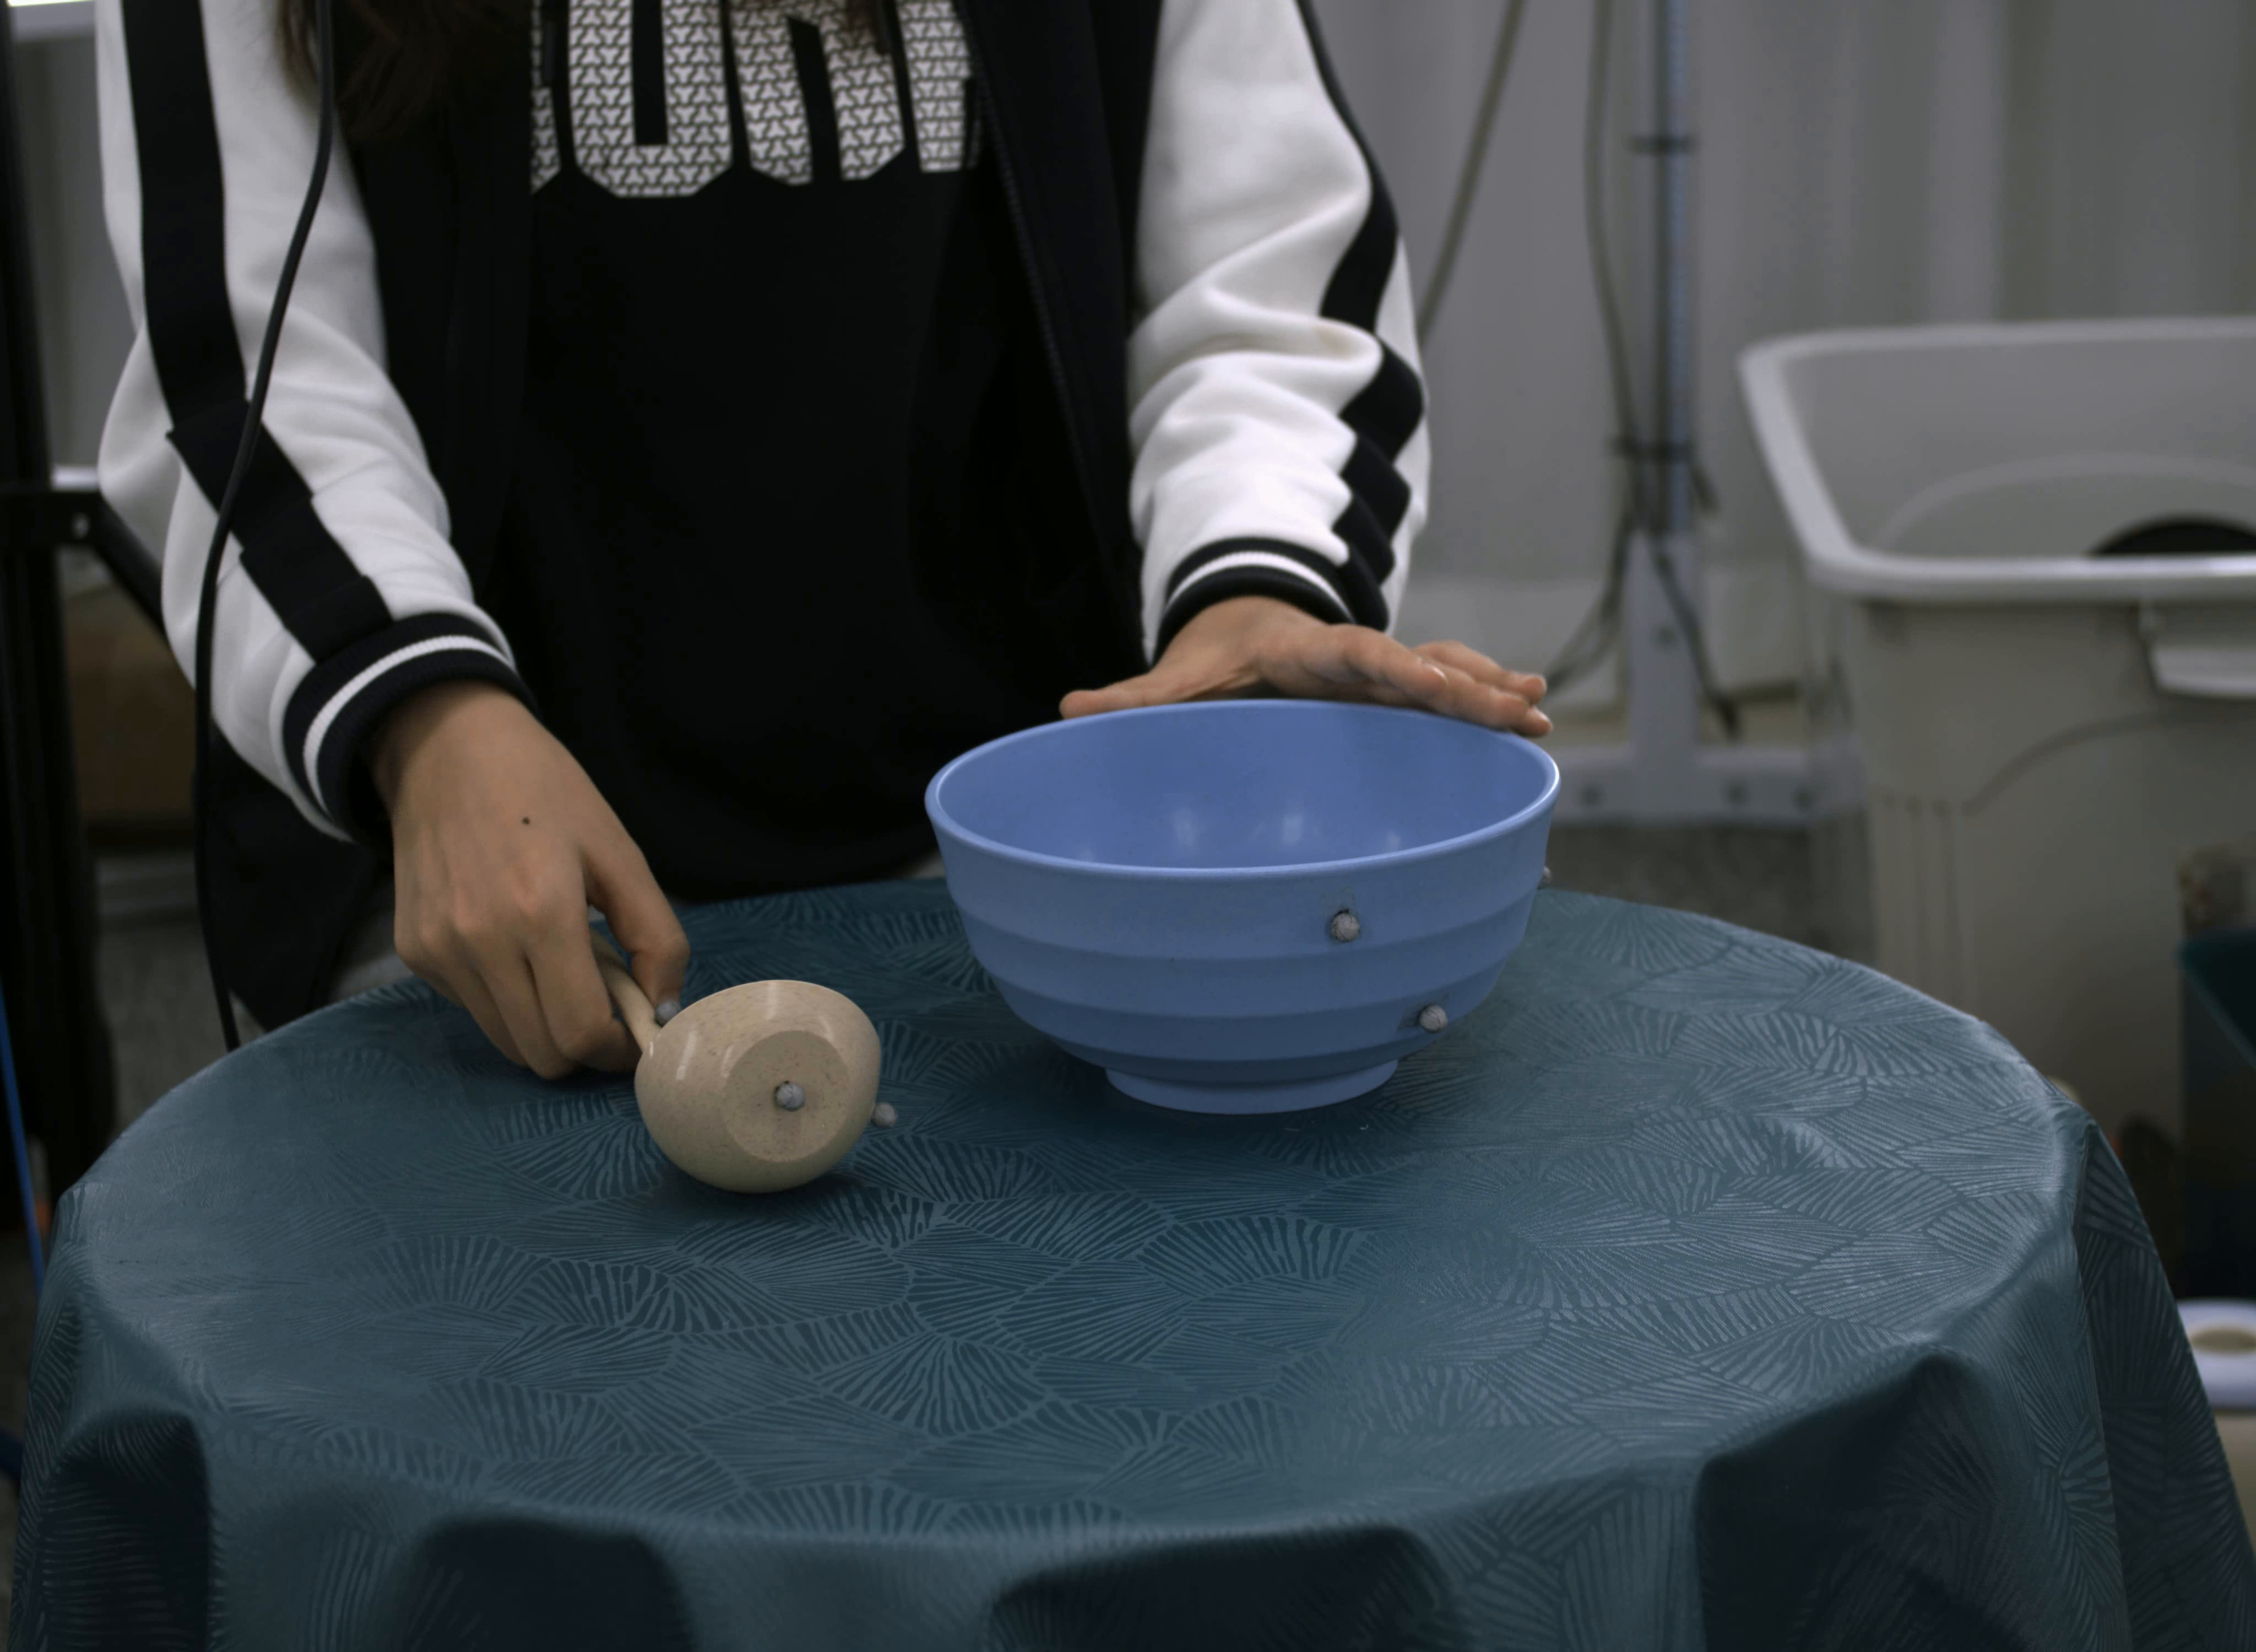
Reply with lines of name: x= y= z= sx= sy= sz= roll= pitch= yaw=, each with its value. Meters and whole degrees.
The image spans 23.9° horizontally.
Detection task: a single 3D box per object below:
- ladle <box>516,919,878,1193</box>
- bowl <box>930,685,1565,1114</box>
ladle: x=-0.143 y=0.042 z=1.653 sx=0.070 sy=0.073 sz=0.259 roll=9 pitch=15 yaw=-24
bowl: x=0.037 y=0.029 z=1.652 sx=0.195 sy=0.095 sz=0.197 roll=-1 pitch=18 yaw=-1
